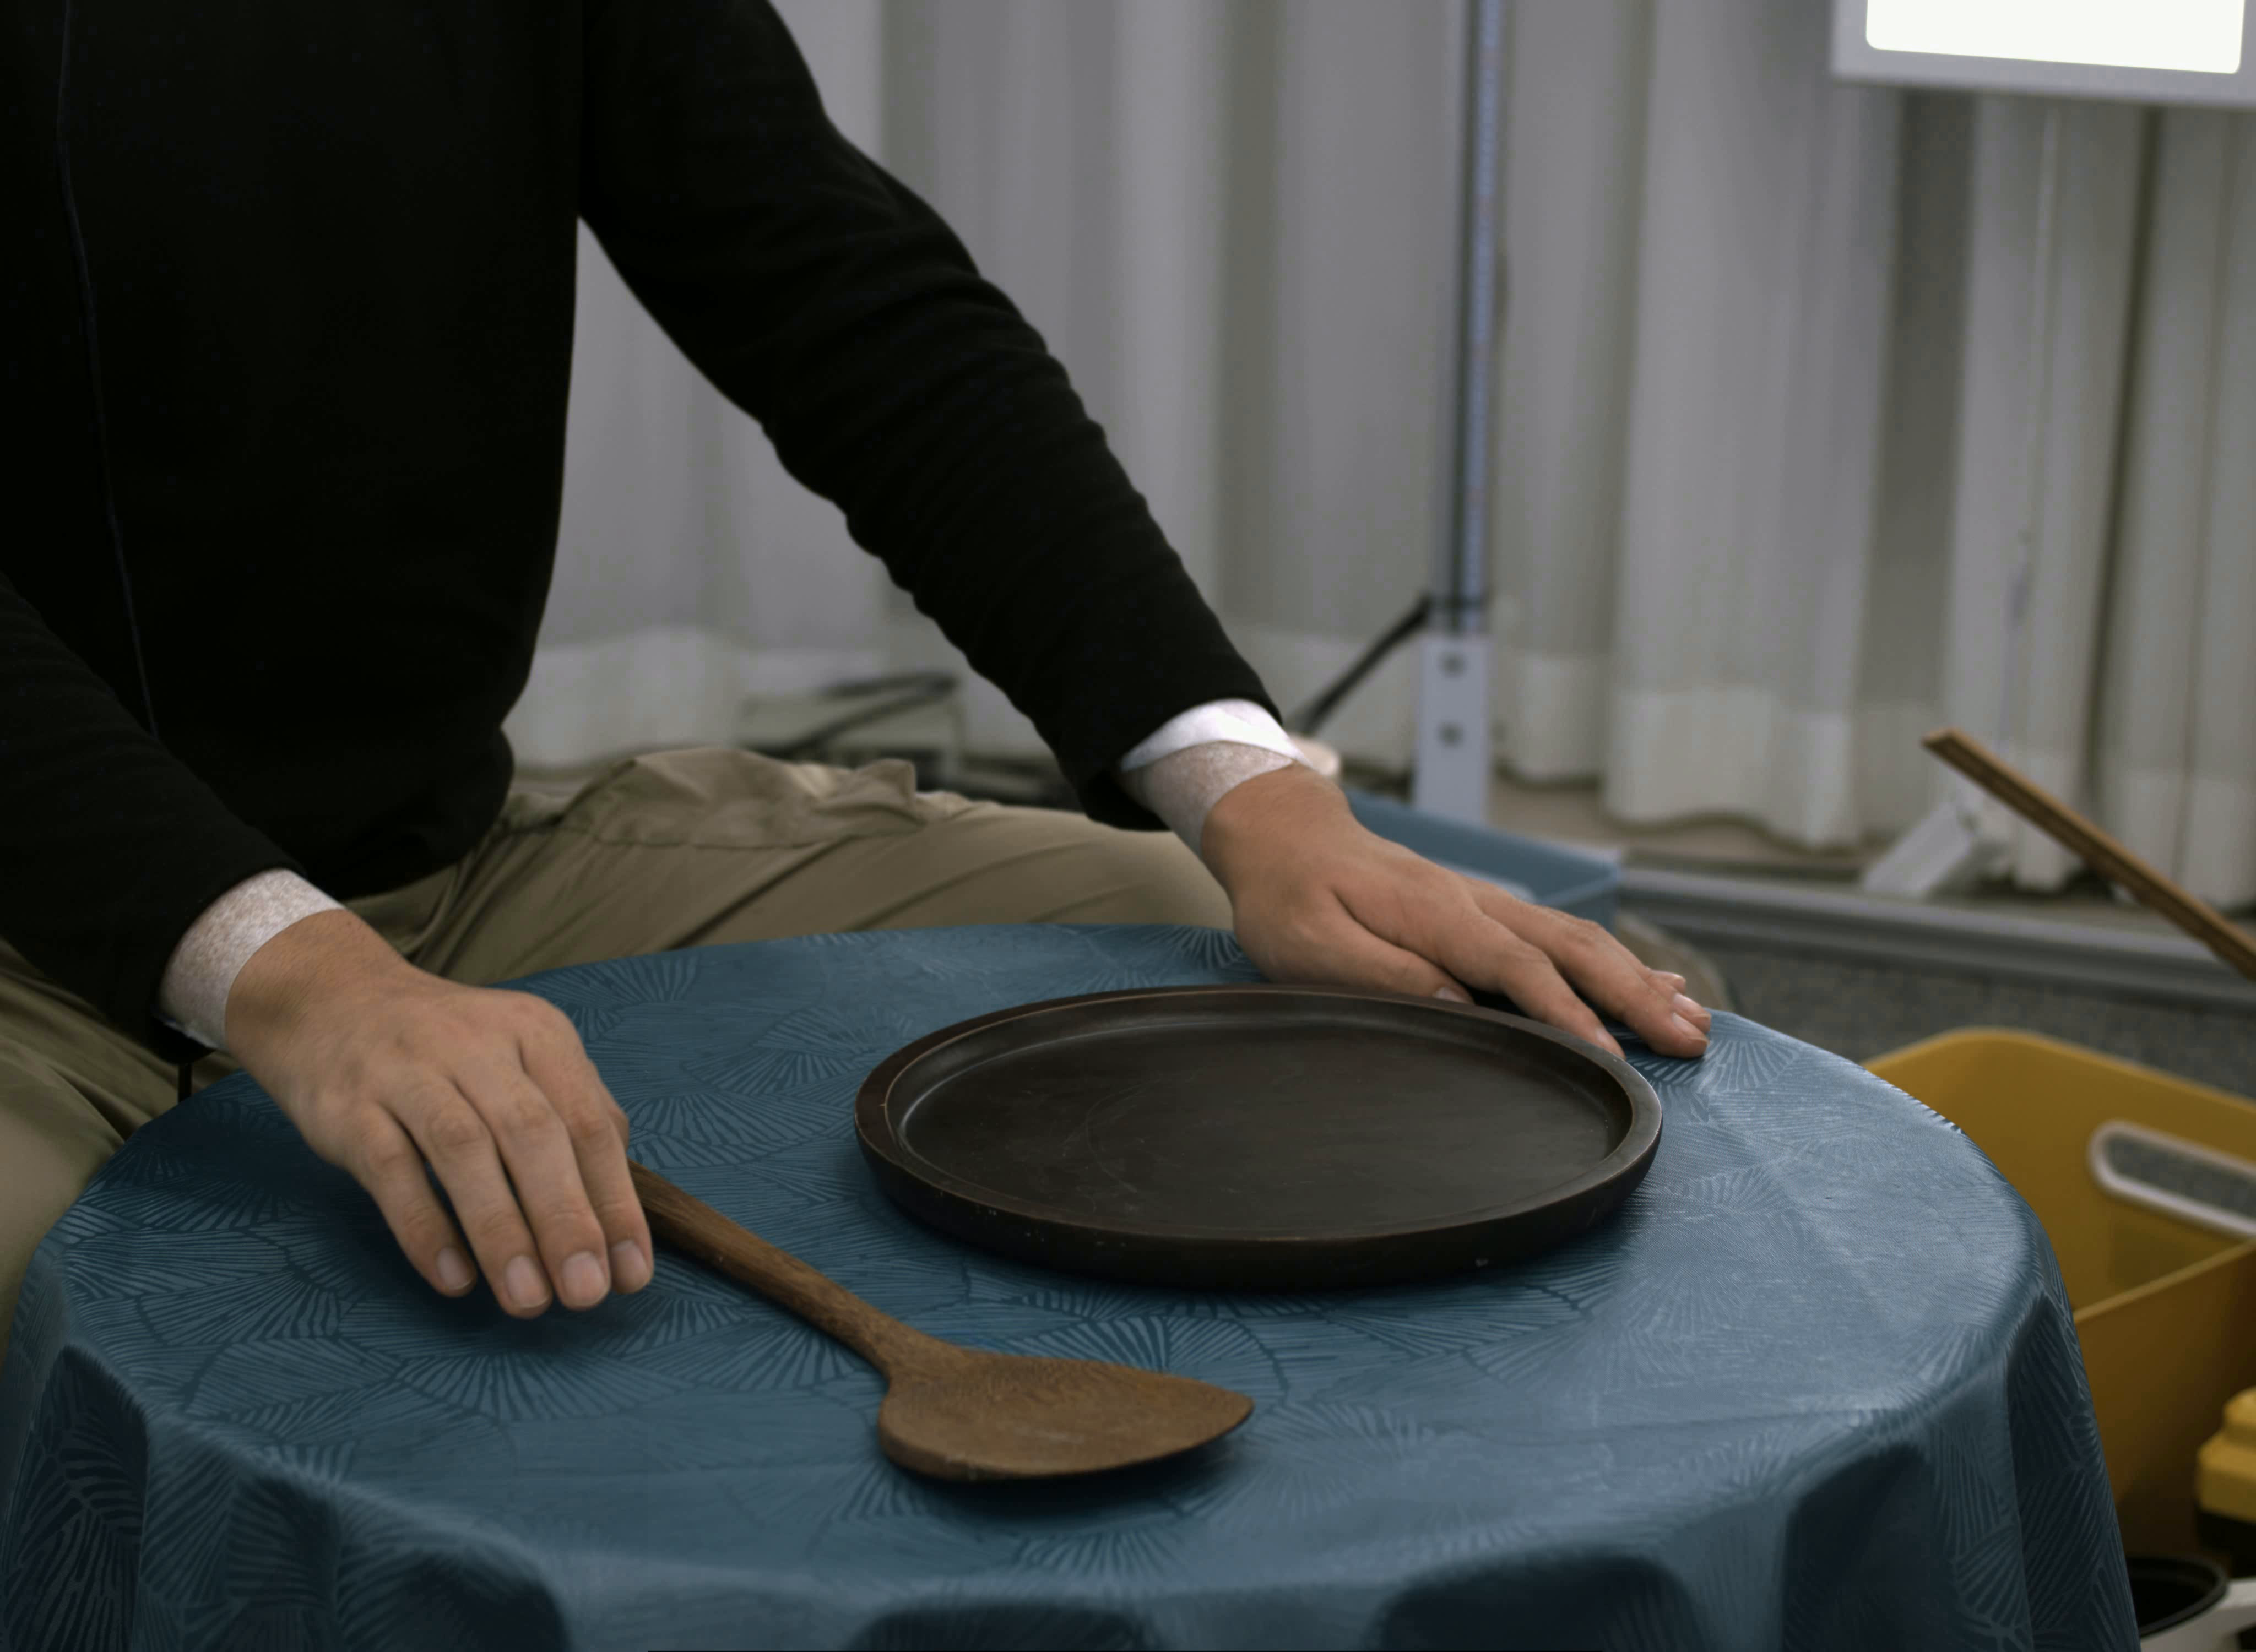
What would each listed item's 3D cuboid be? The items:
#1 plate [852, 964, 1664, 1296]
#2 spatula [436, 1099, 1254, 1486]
[{"bbox_3d":[0.040,0.095,1.639,0.254,0.029,0.253,-1,16,1],"label":"plate"},{"bbox_3d":[-0.105,0.129,1.530,0.096,0.016,0.381,-10,18,-34],"label":"spatula"}]
